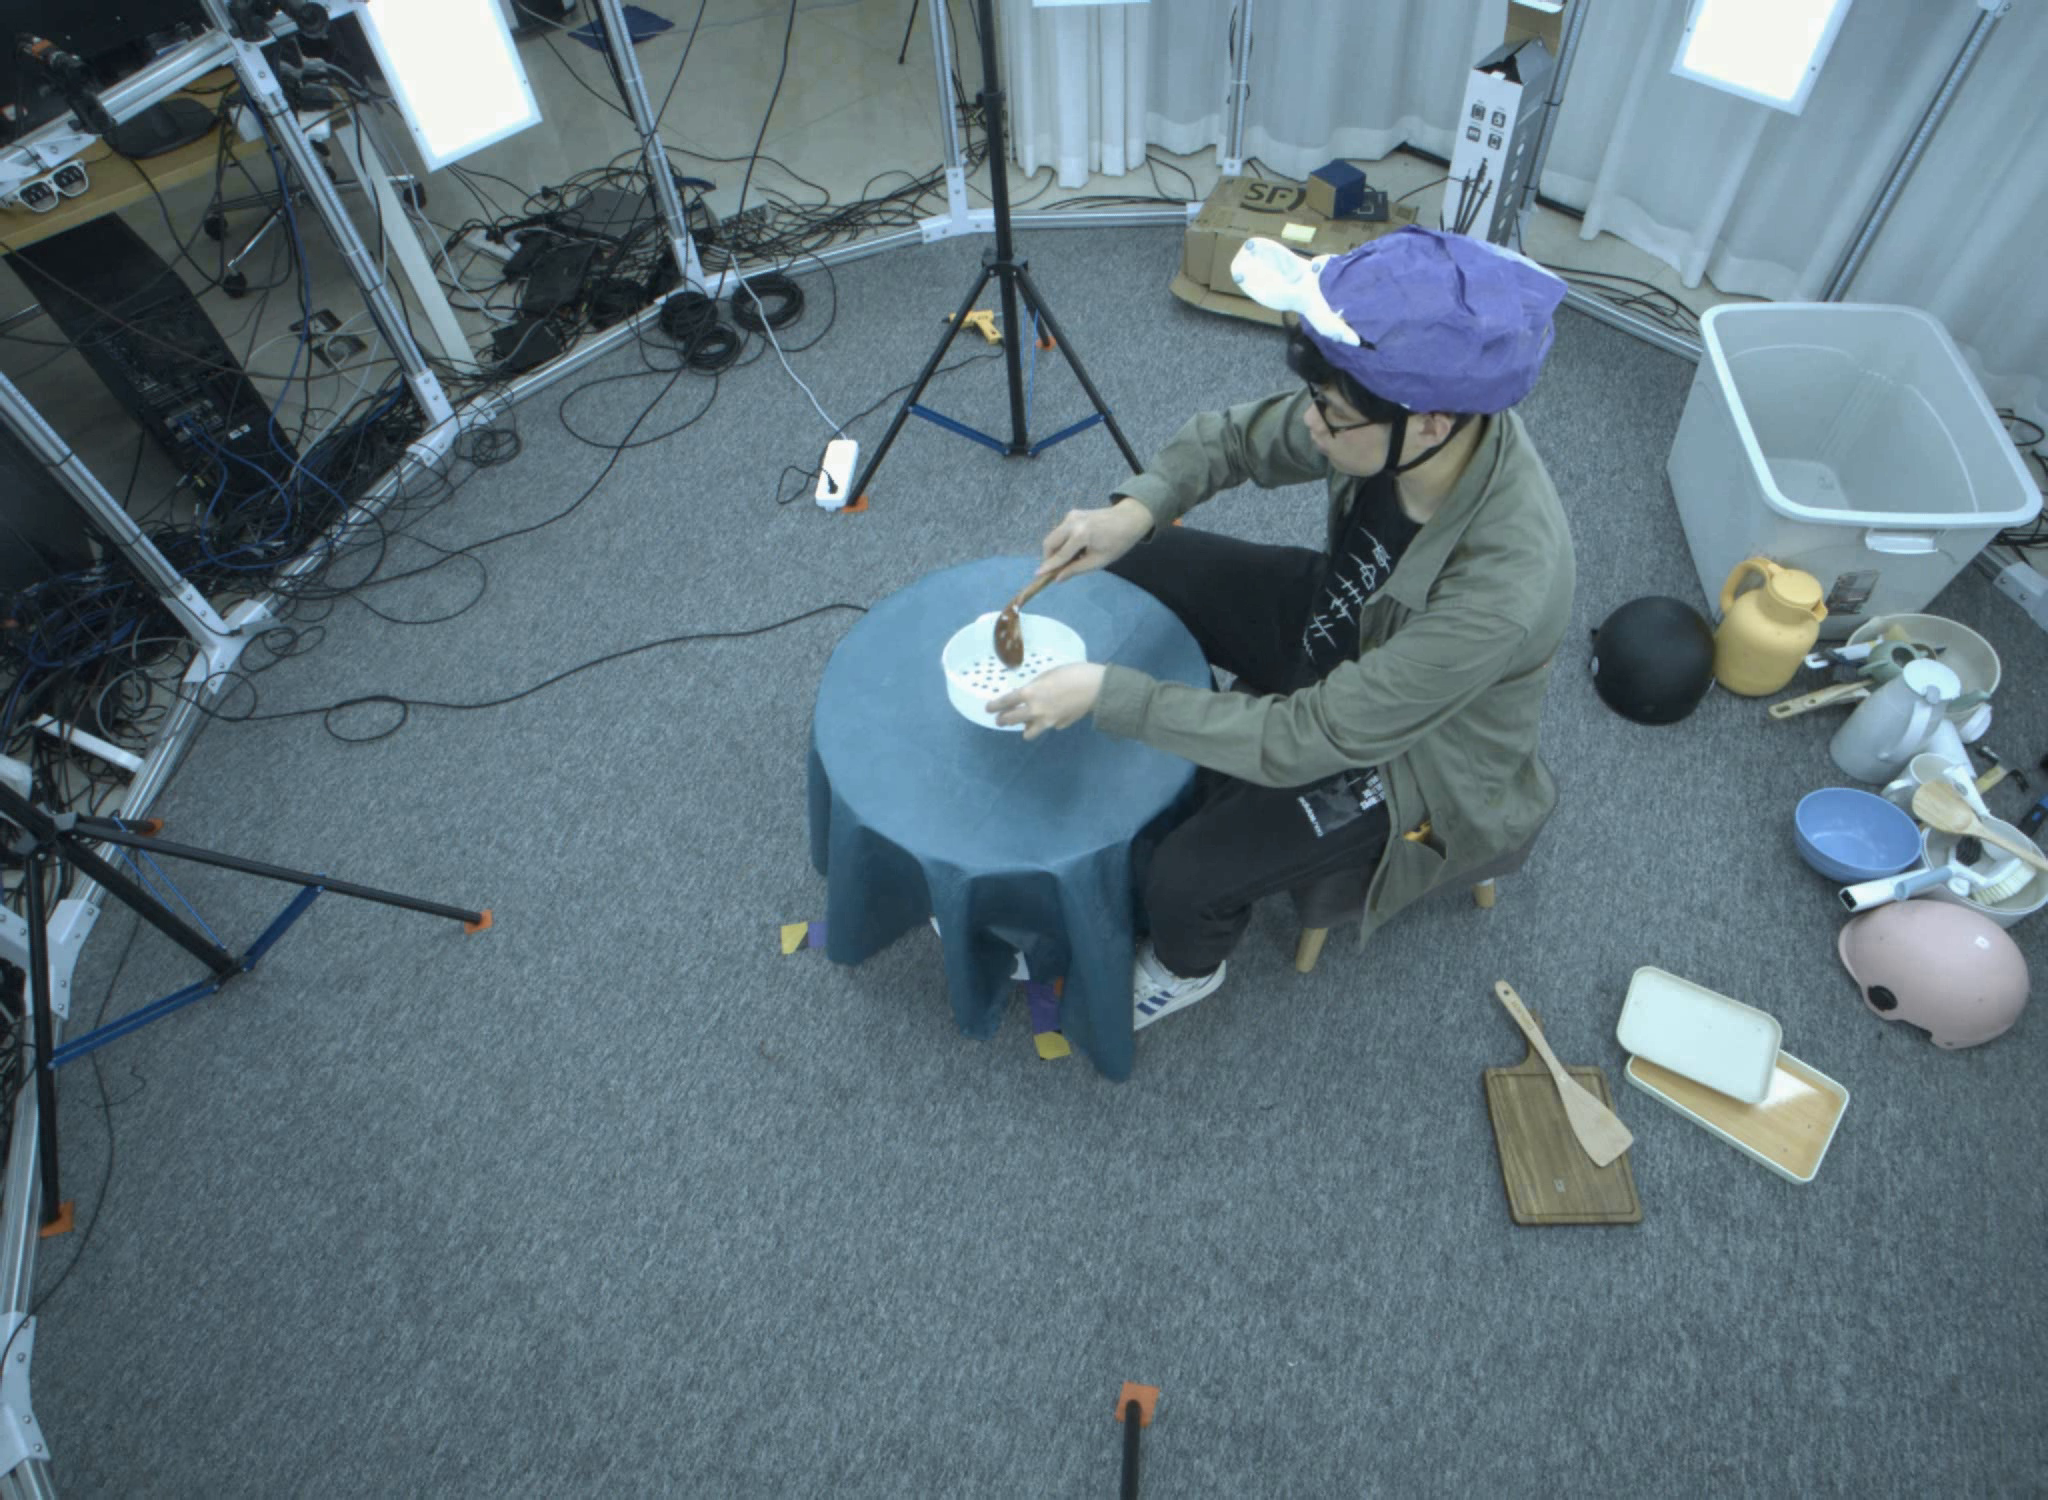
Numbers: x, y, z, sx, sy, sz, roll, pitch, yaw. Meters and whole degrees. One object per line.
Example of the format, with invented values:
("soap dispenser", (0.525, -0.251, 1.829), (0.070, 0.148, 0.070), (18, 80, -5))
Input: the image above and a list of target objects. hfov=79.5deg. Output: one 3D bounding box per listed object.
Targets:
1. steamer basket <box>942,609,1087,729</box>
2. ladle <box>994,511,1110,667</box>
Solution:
("steamer basket", (-0.013, -0.111, 1.726), (0.203, 0.070, 0.226), (-10, 42, -10))
("ladle", (0.052, -0.225, 1.716), (0.077, 0.081, 0.275), (46, 70, -3))
